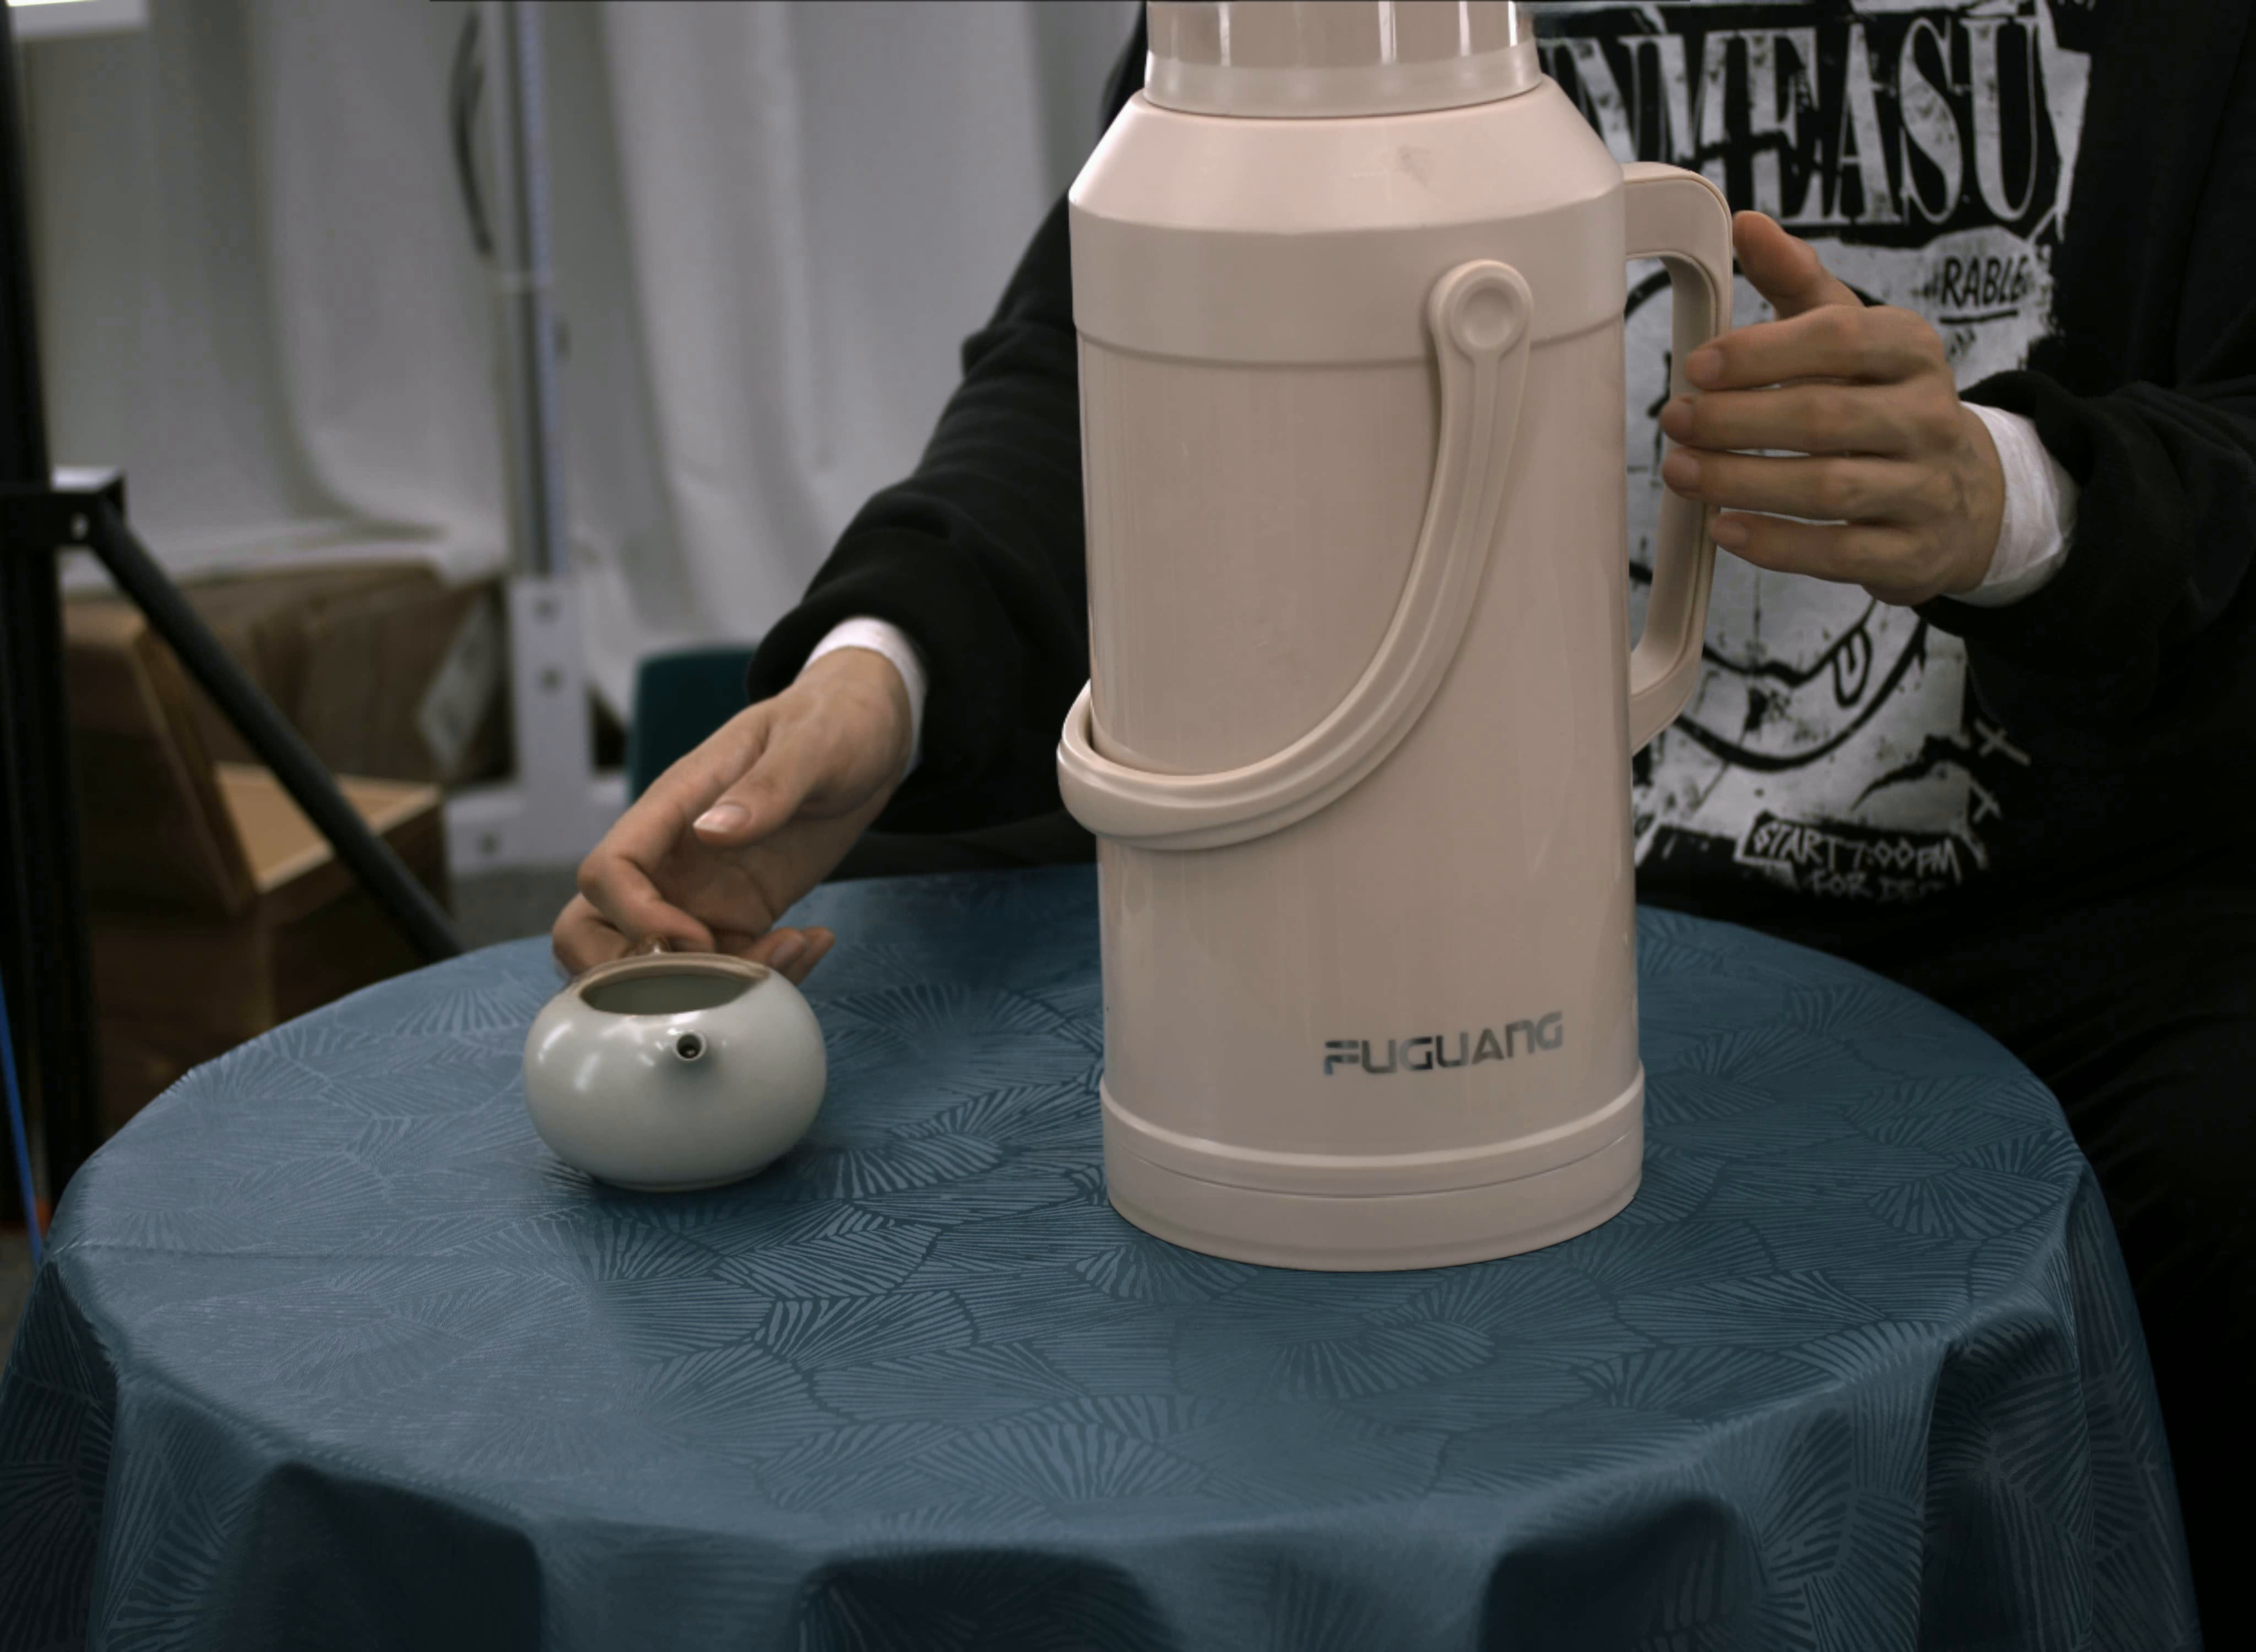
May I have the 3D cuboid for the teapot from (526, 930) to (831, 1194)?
[{"bbox_3d":[-0.136,0.071,1.602,0.091,0.059,0.130,-8,18,-10],"label":"teapot"}]

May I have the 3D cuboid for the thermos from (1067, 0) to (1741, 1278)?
[{"bbox_3d":[0.081,-0.088,1.508,0.203,0.406,0.178,-9,15,-21],"label":"thermos"}]
